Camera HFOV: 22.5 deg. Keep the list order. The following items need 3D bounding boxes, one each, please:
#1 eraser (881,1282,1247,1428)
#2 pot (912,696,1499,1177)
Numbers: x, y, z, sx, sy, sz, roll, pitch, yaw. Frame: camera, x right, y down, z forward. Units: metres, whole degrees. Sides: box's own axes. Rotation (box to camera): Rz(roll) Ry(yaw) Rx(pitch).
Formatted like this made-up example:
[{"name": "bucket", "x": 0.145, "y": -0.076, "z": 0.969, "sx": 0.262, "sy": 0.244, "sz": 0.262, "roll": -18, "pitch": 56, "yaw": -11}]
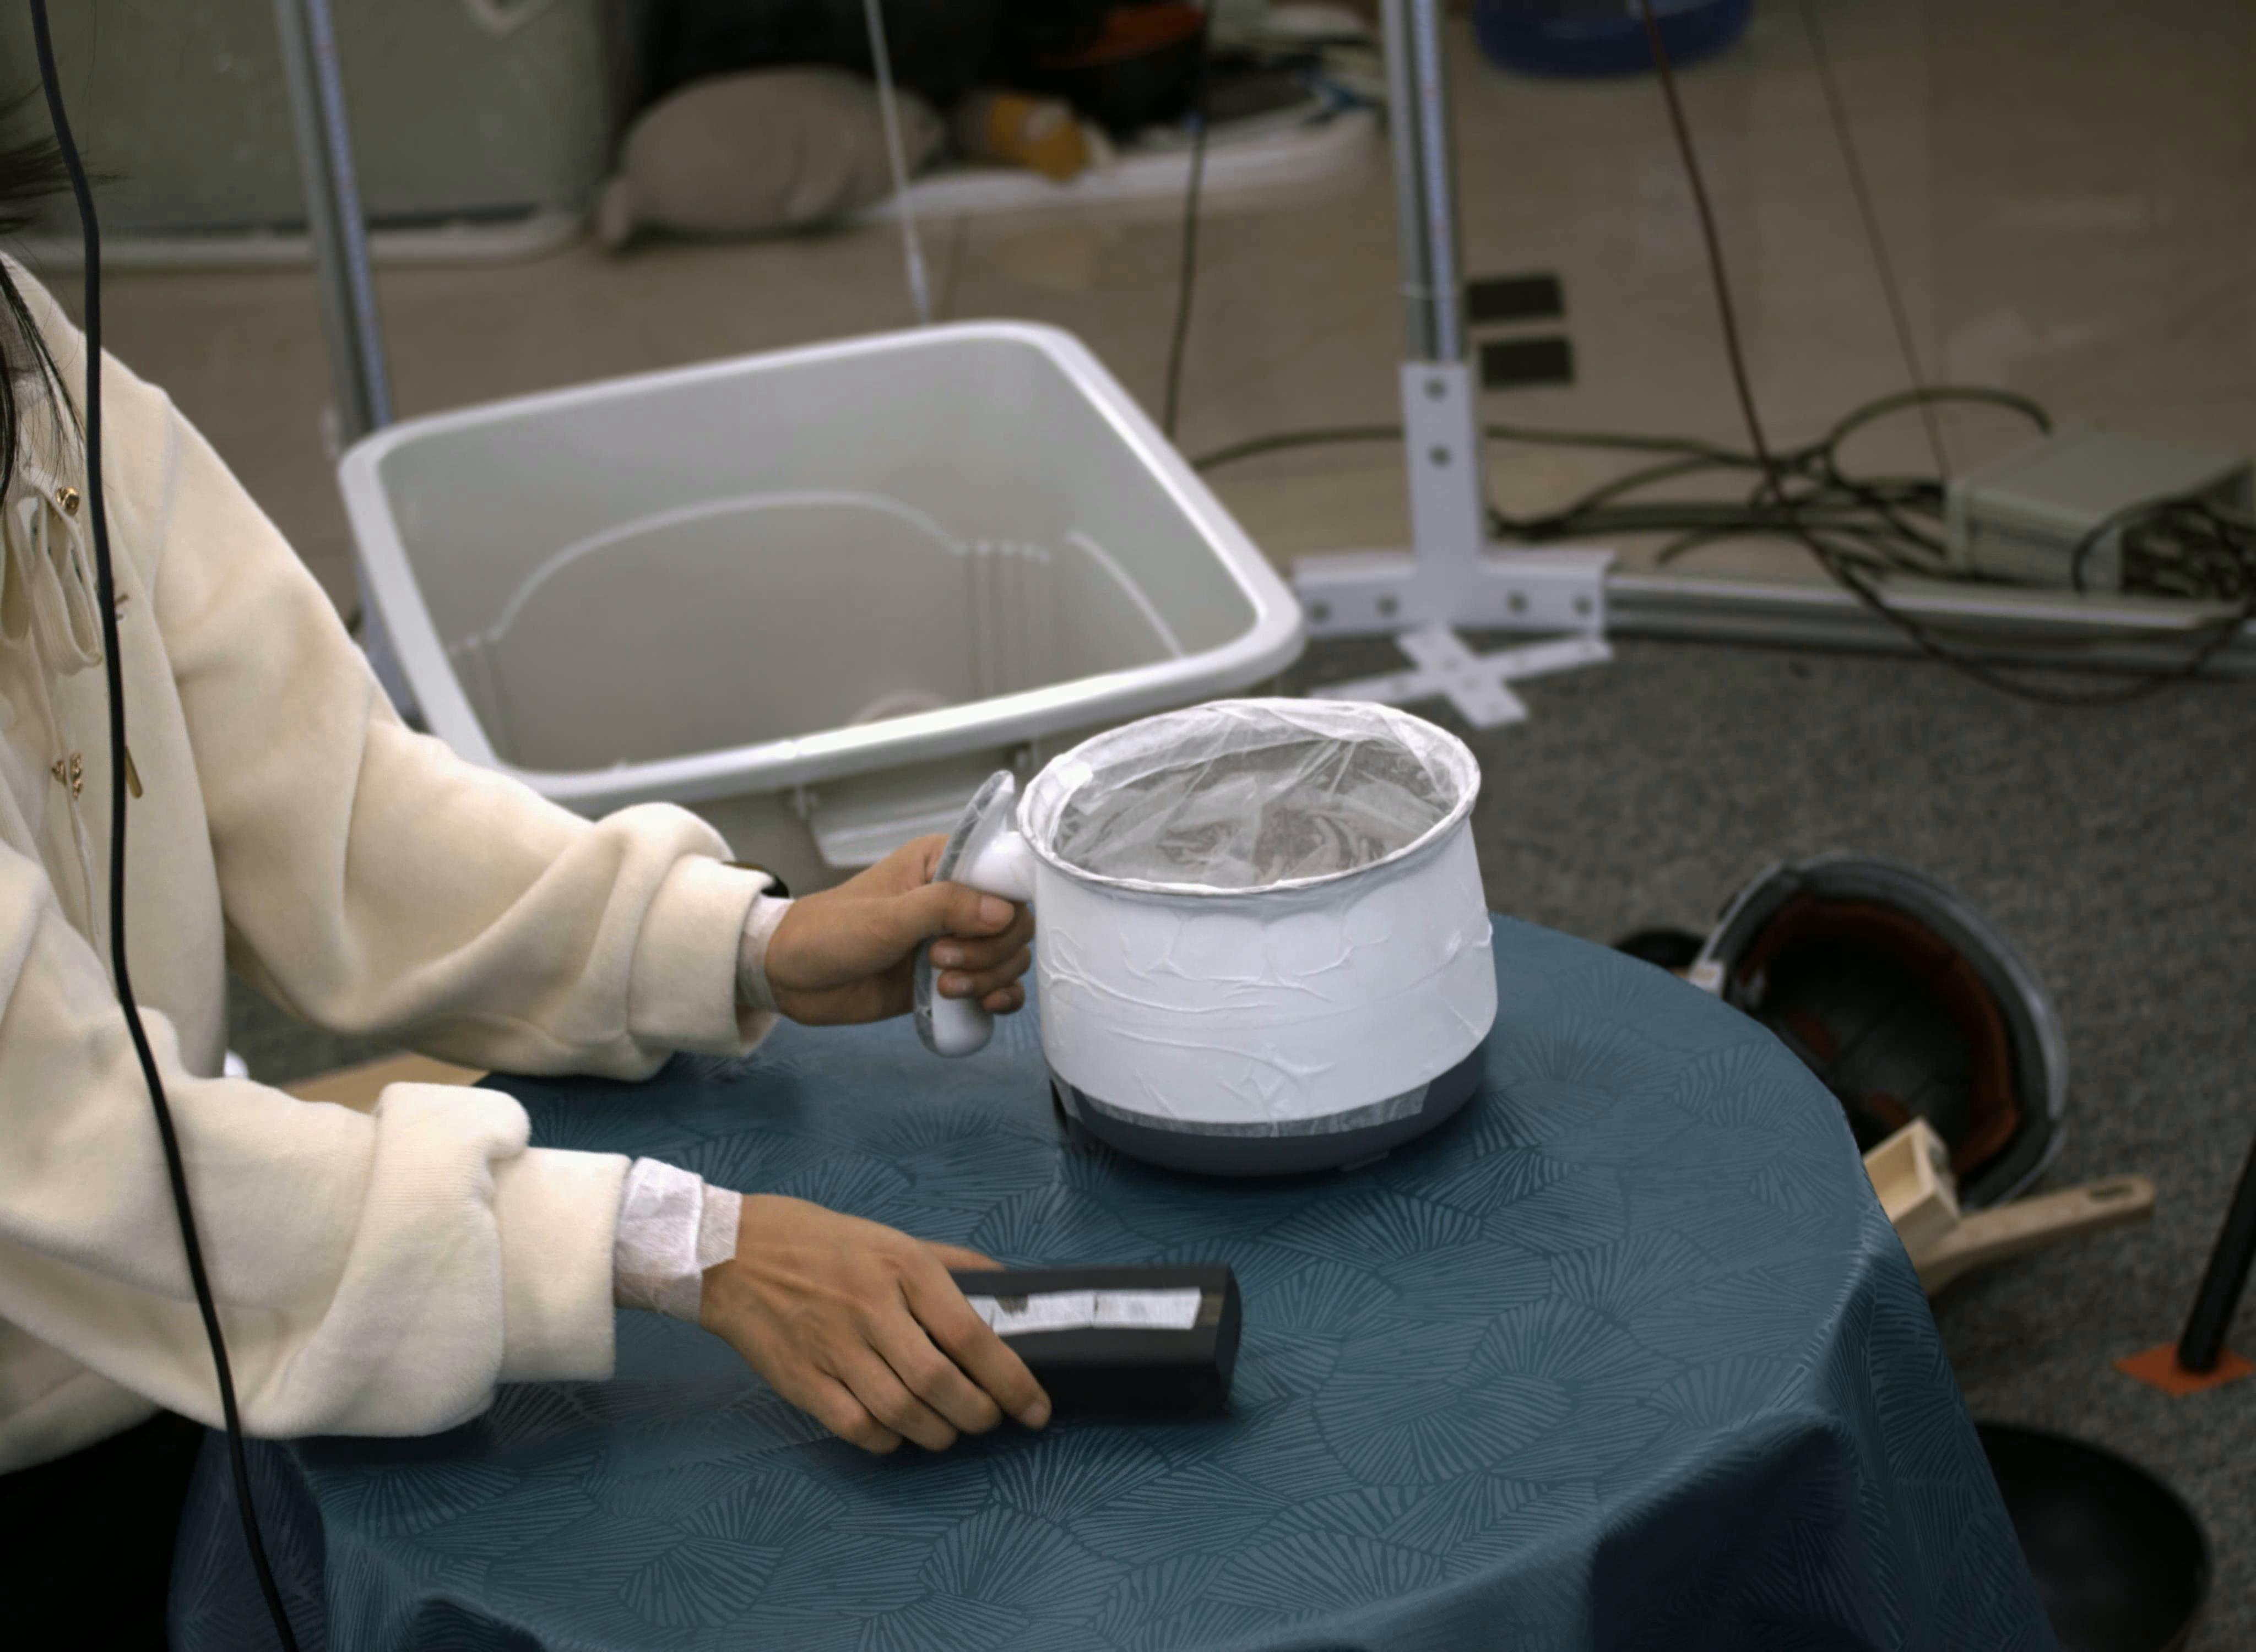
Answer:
[{"name": "eraser", "x": -0.021, "y": 0.186, "z": 2.003, "sx": 0.125, "sy": 0.031, "sz": 0.052, "roll": -1, "pitch": 37, "yaw": 13}, {"name": "pot", "x": 0.026, "y": 0.043, "z": 2.180, "sx": 0.233, "sy": 0.139, "sz": 0.176, "roll": 3, "pitch": 26, "yaw": 16}]
